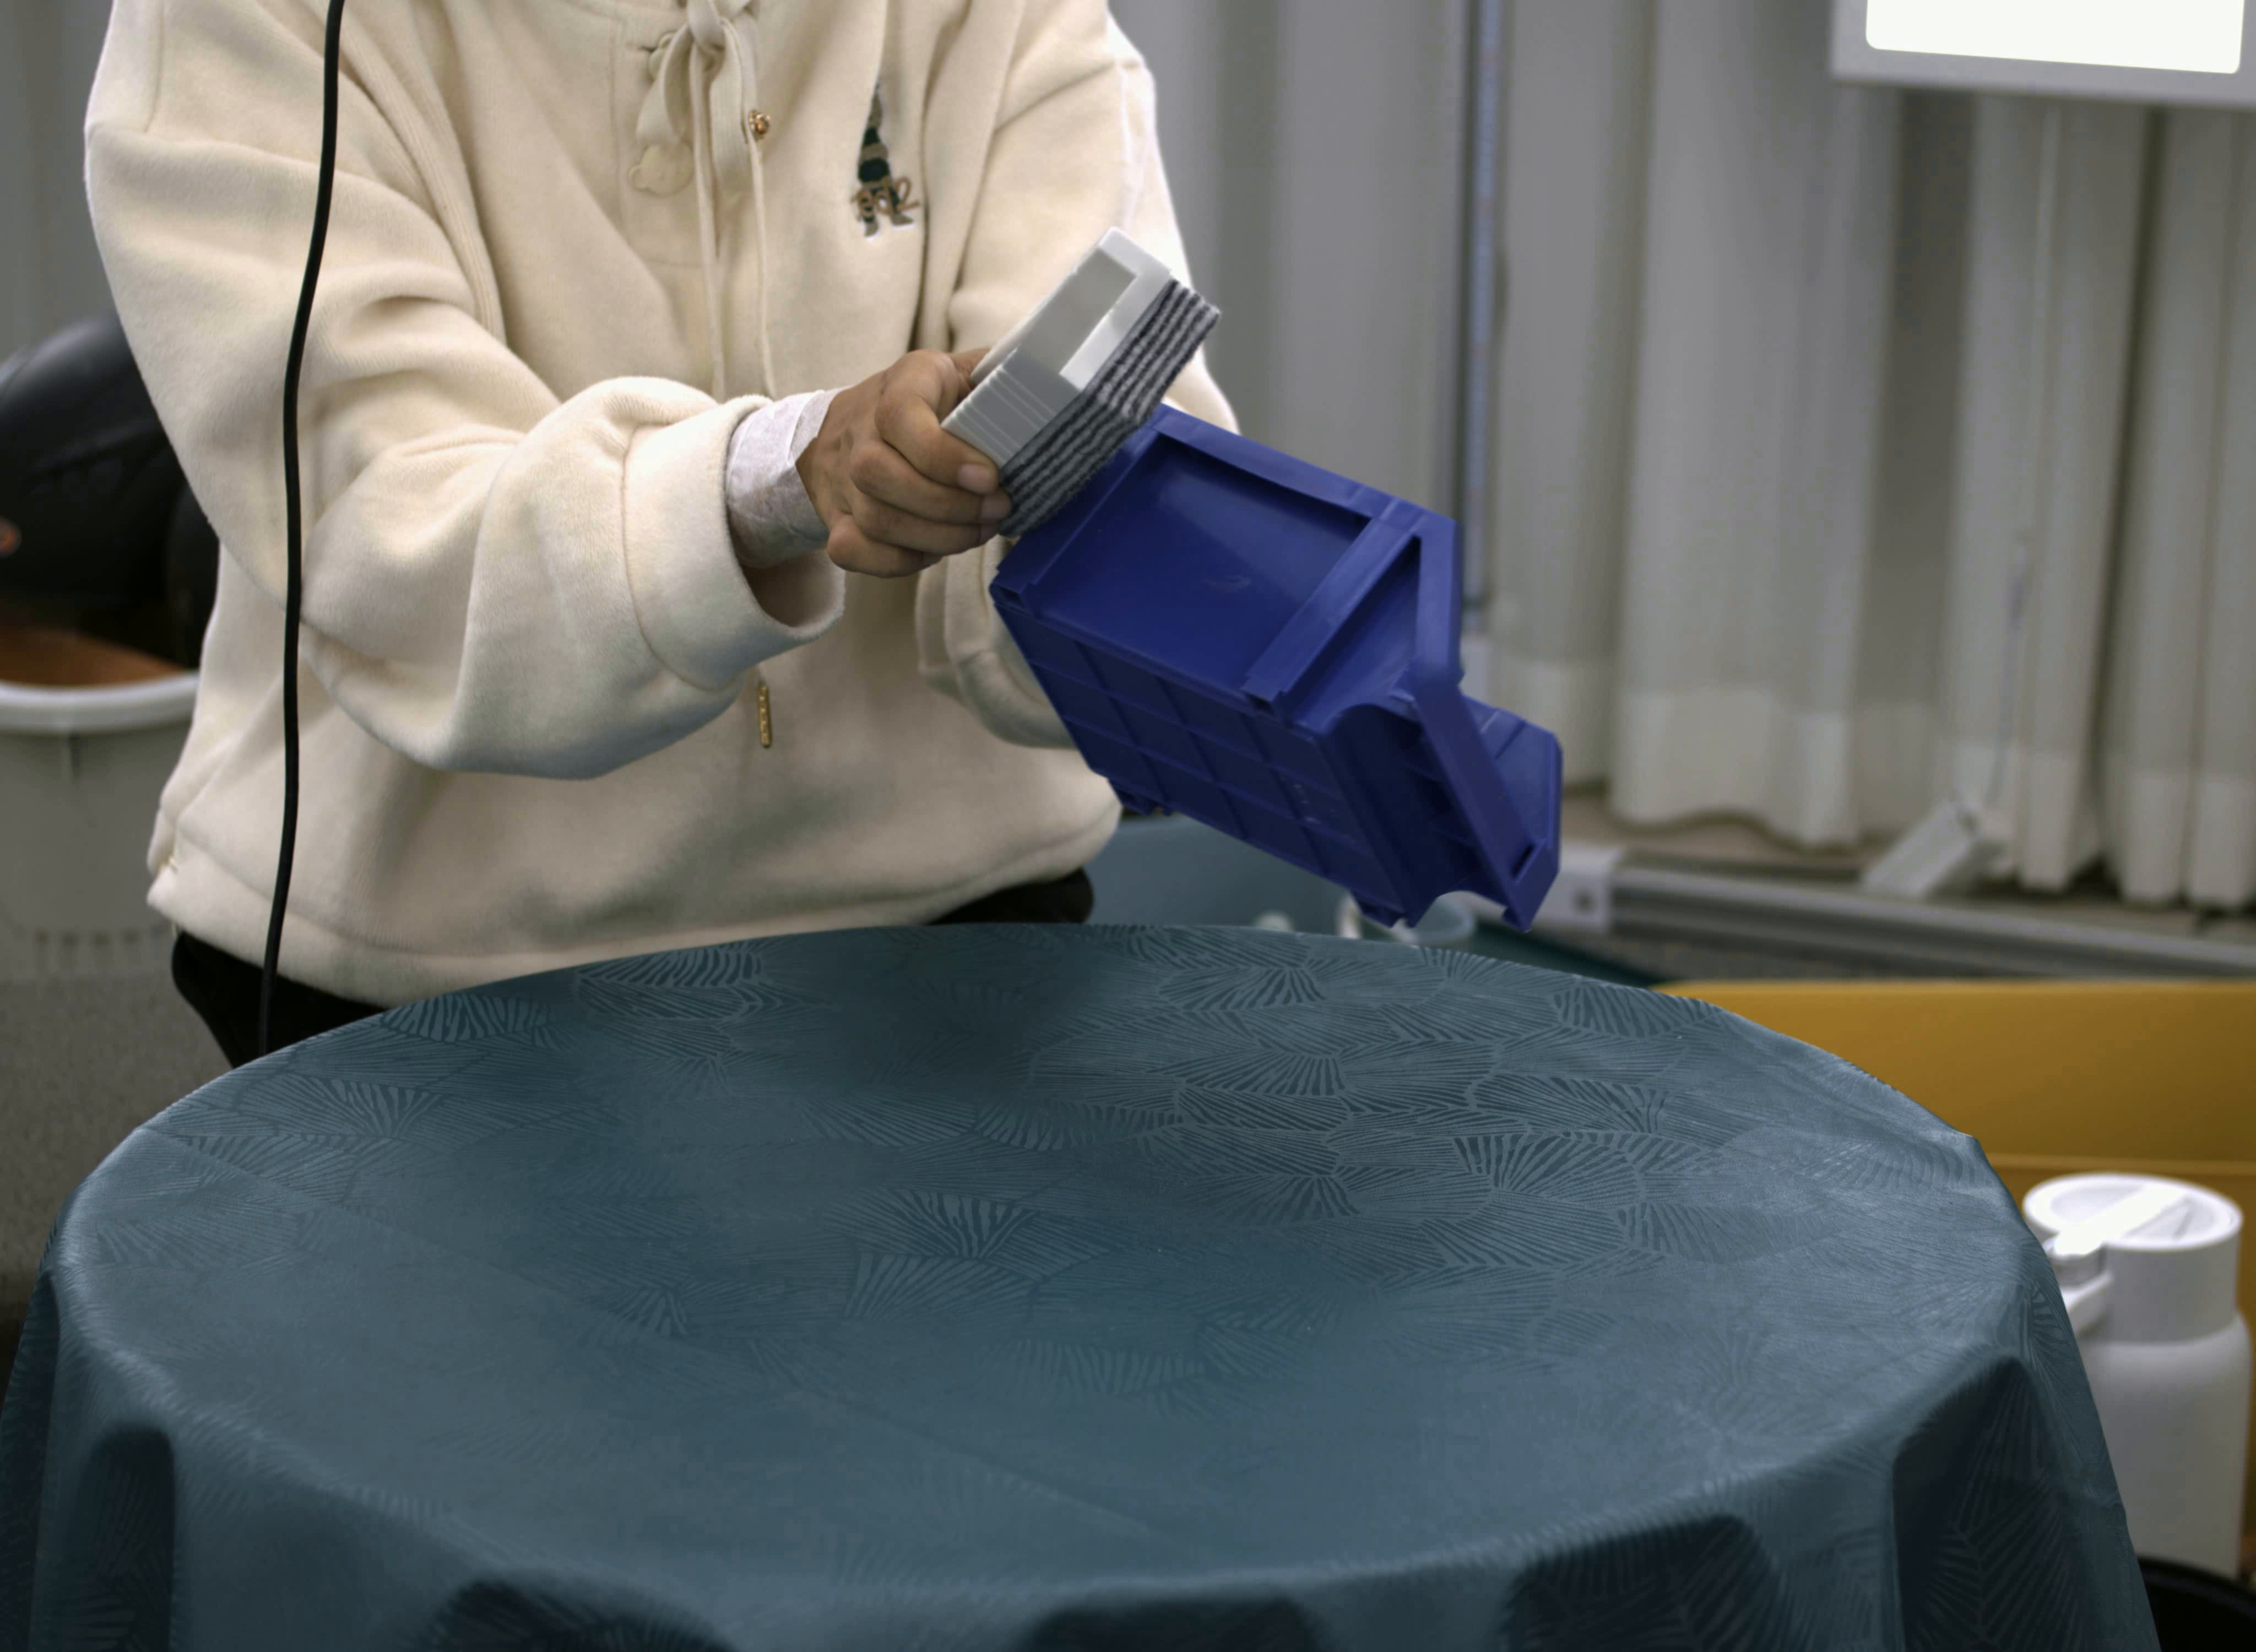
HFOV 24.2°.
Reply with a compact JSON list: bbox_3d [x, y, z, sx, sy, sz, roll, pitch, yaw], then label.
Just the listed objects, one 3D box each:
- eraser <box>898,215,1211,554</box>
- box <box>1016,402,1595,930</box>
[{"bbox_3d":[-0.023,-0.130,1.584,0.046,0.049,0.134,36,-24,-8],"label":"eraser"},{"bbox_3d":[0.061,-0.045,1.635,0.177,0.126,0.082,21,65,37],"label":"box"}]
